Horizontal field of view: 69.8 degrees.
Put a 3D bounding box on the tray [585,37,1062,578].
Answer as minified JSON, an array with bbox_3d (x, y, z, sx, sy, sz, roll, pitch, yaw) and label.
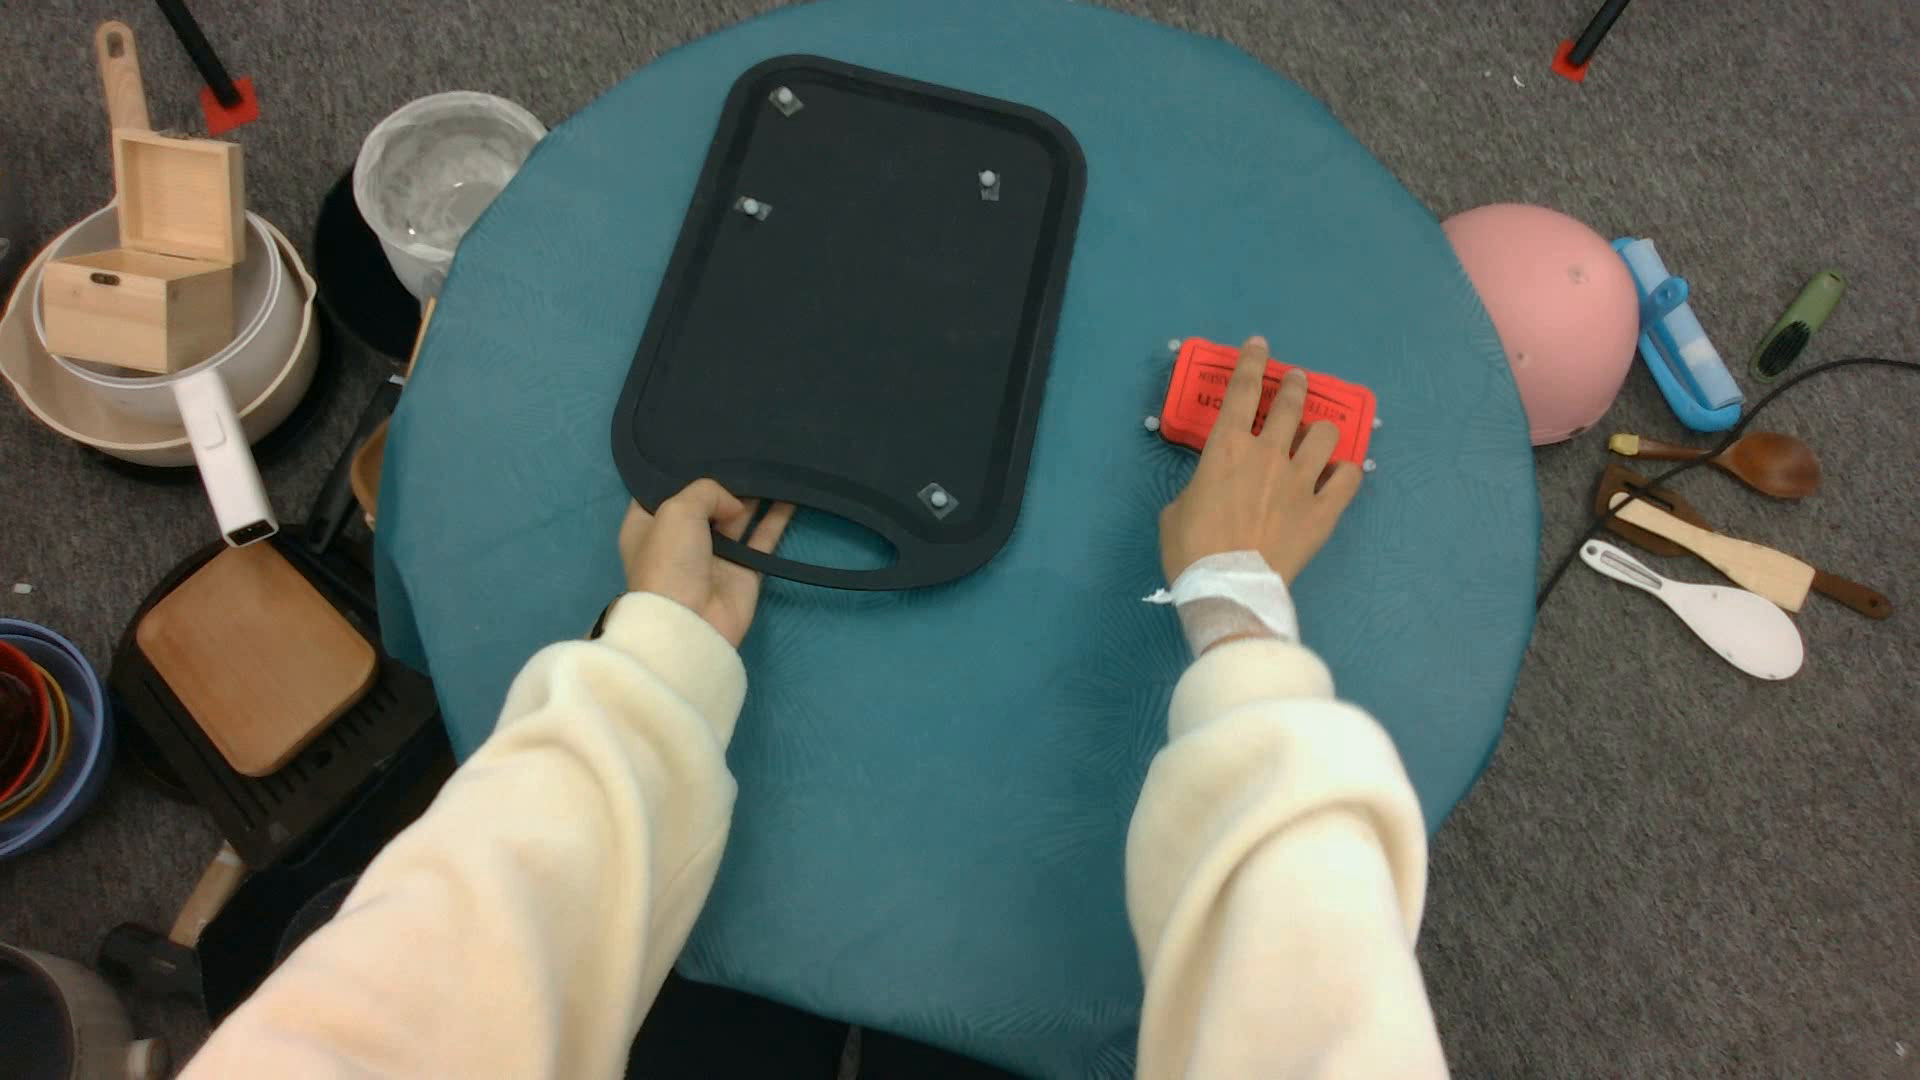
[{"bbox_3d":[-0.065,-0.132,0.732,0.211,0.010,0.326,13,65,-3],"label":"tray"}]

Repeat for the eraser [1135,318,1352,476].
[{"bbox_3d":[0.151,-0.077,0.738,0.108,0.023,0.059,17,71,0],"label":"eraser"}]
